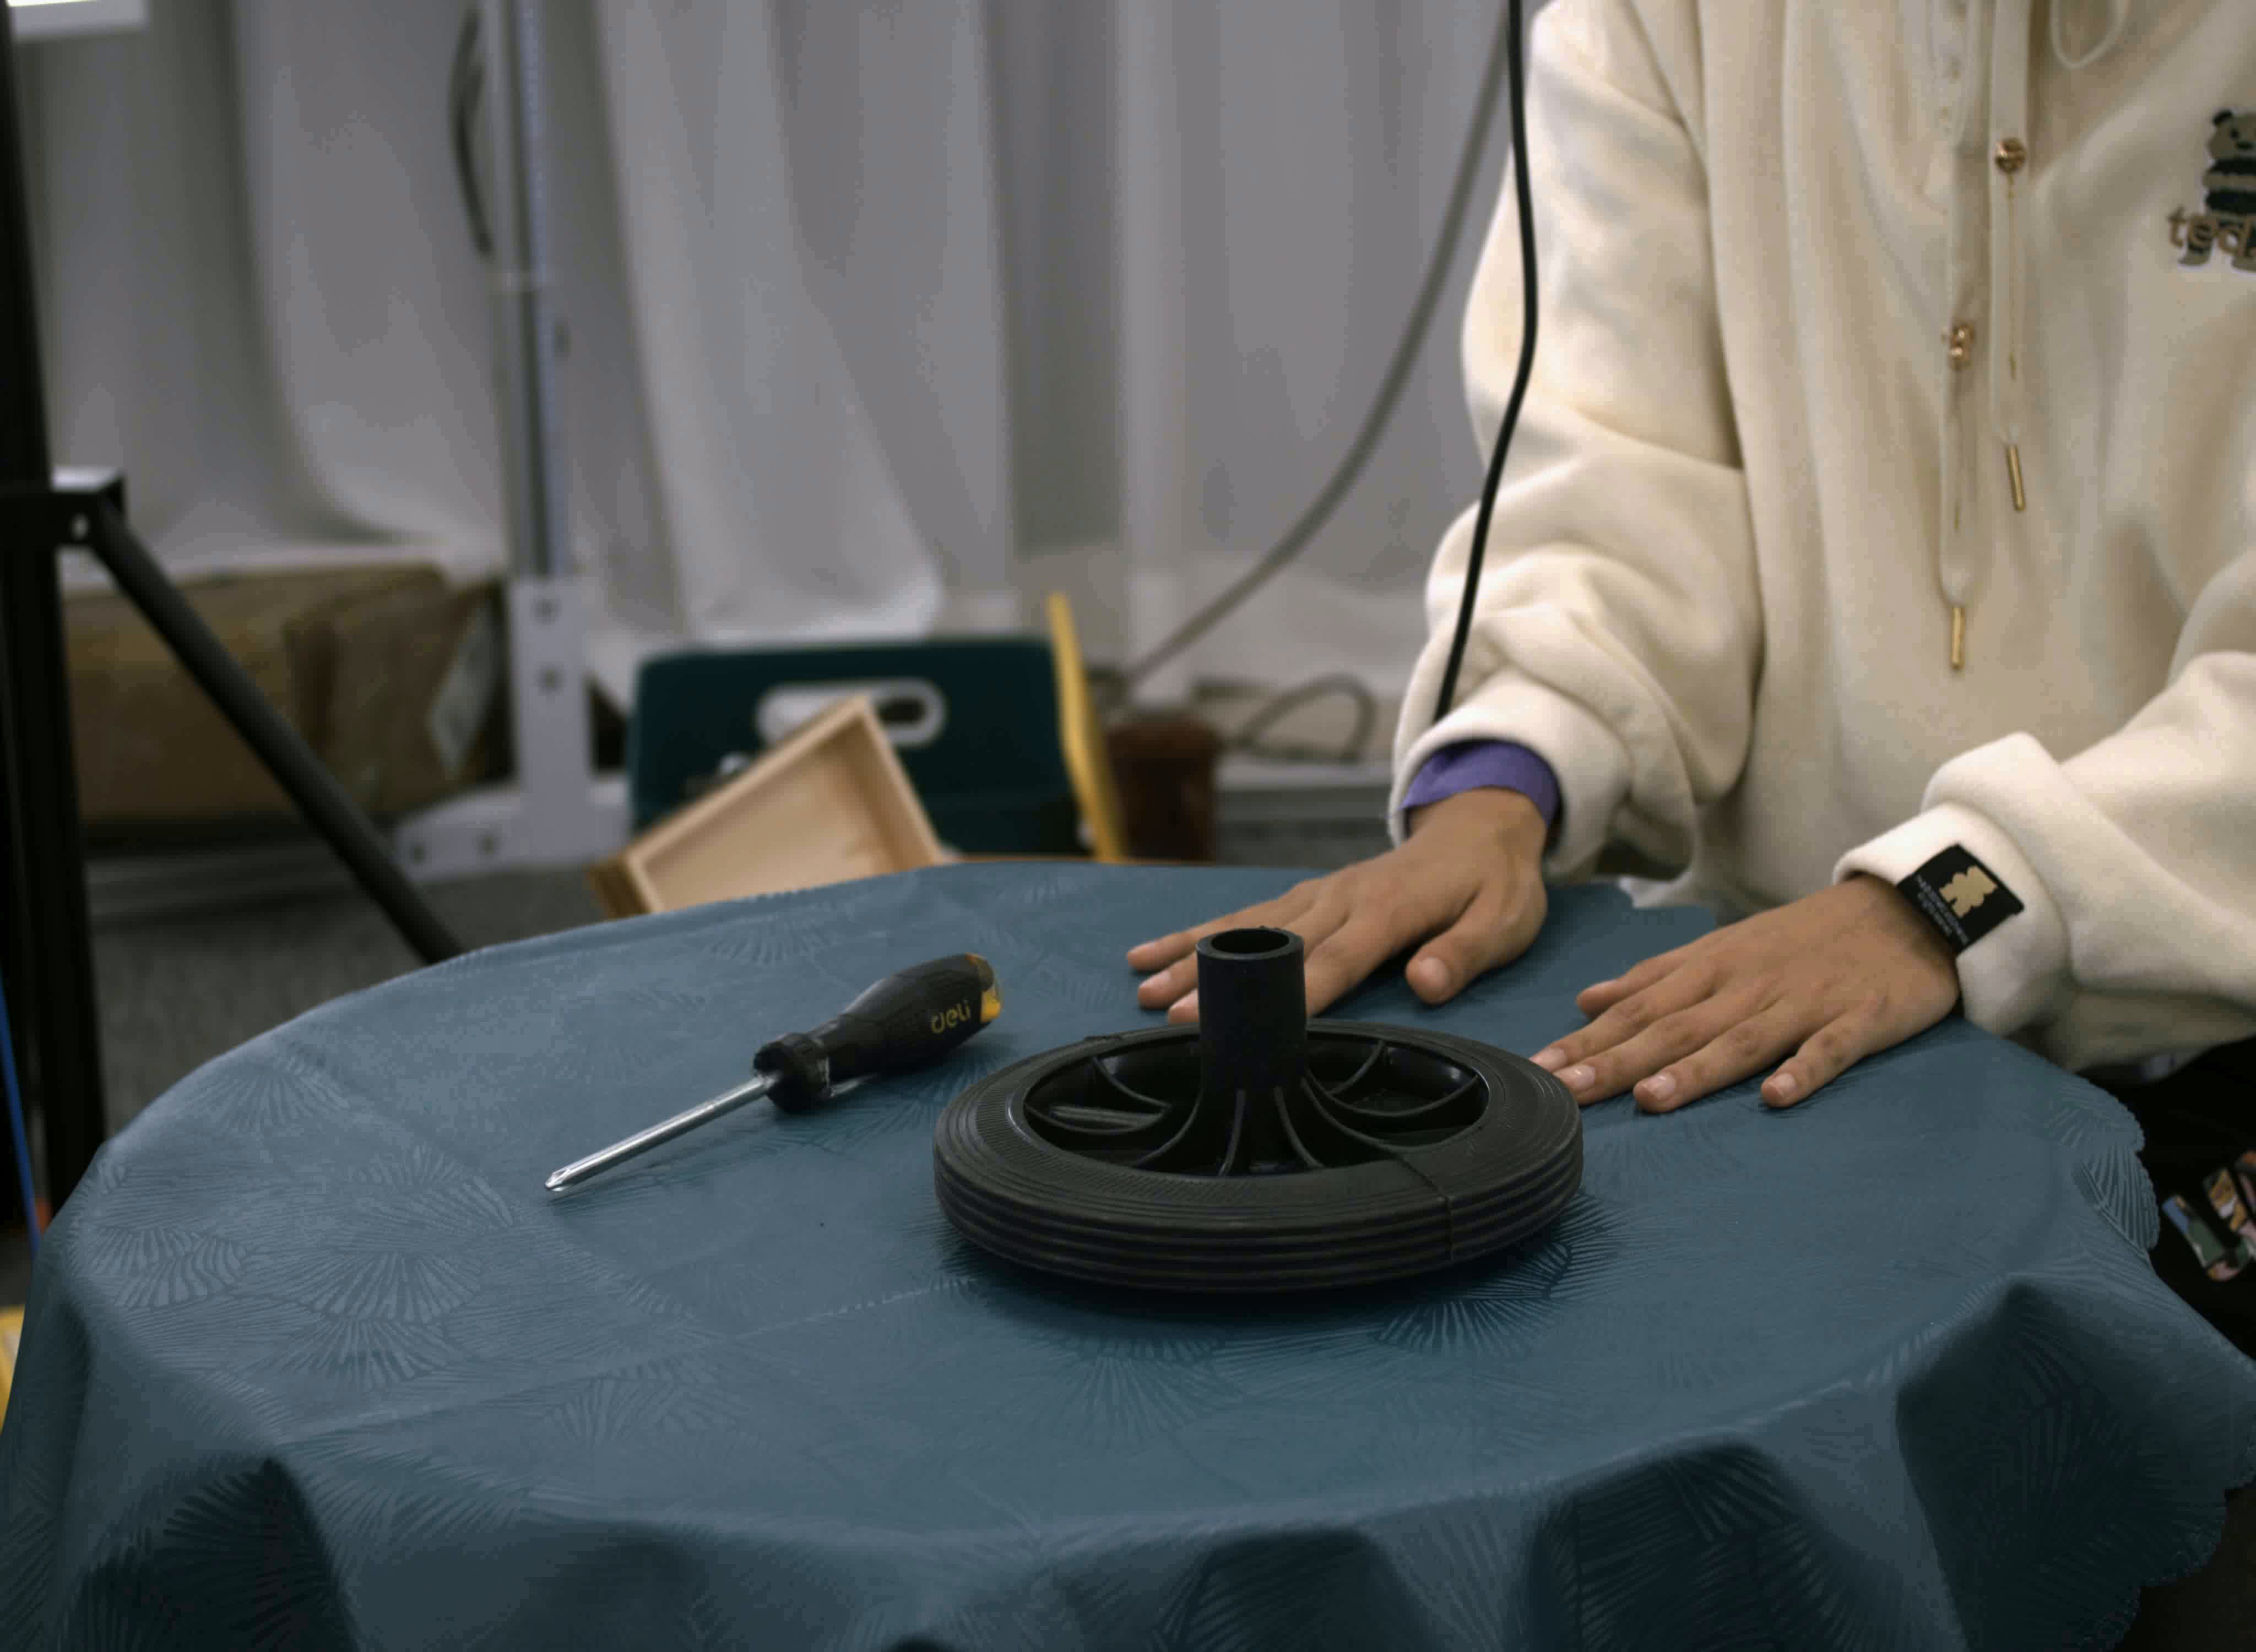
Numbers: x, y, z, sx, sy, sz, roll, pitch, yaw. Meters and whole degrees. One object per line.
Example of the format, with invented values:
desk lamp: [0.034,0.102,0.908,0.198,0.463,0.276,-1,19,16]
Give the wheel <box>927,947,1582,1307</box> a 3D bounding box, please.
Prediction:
wheel: [0.035,0.077,1.525,0.190,0.079,0.187,-4,15,5]

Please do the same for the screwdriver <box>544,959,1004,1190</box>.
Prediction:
screwdriver: [-0.106,0.078,1.636,0.032,0.031,0.192,10,22,38]
